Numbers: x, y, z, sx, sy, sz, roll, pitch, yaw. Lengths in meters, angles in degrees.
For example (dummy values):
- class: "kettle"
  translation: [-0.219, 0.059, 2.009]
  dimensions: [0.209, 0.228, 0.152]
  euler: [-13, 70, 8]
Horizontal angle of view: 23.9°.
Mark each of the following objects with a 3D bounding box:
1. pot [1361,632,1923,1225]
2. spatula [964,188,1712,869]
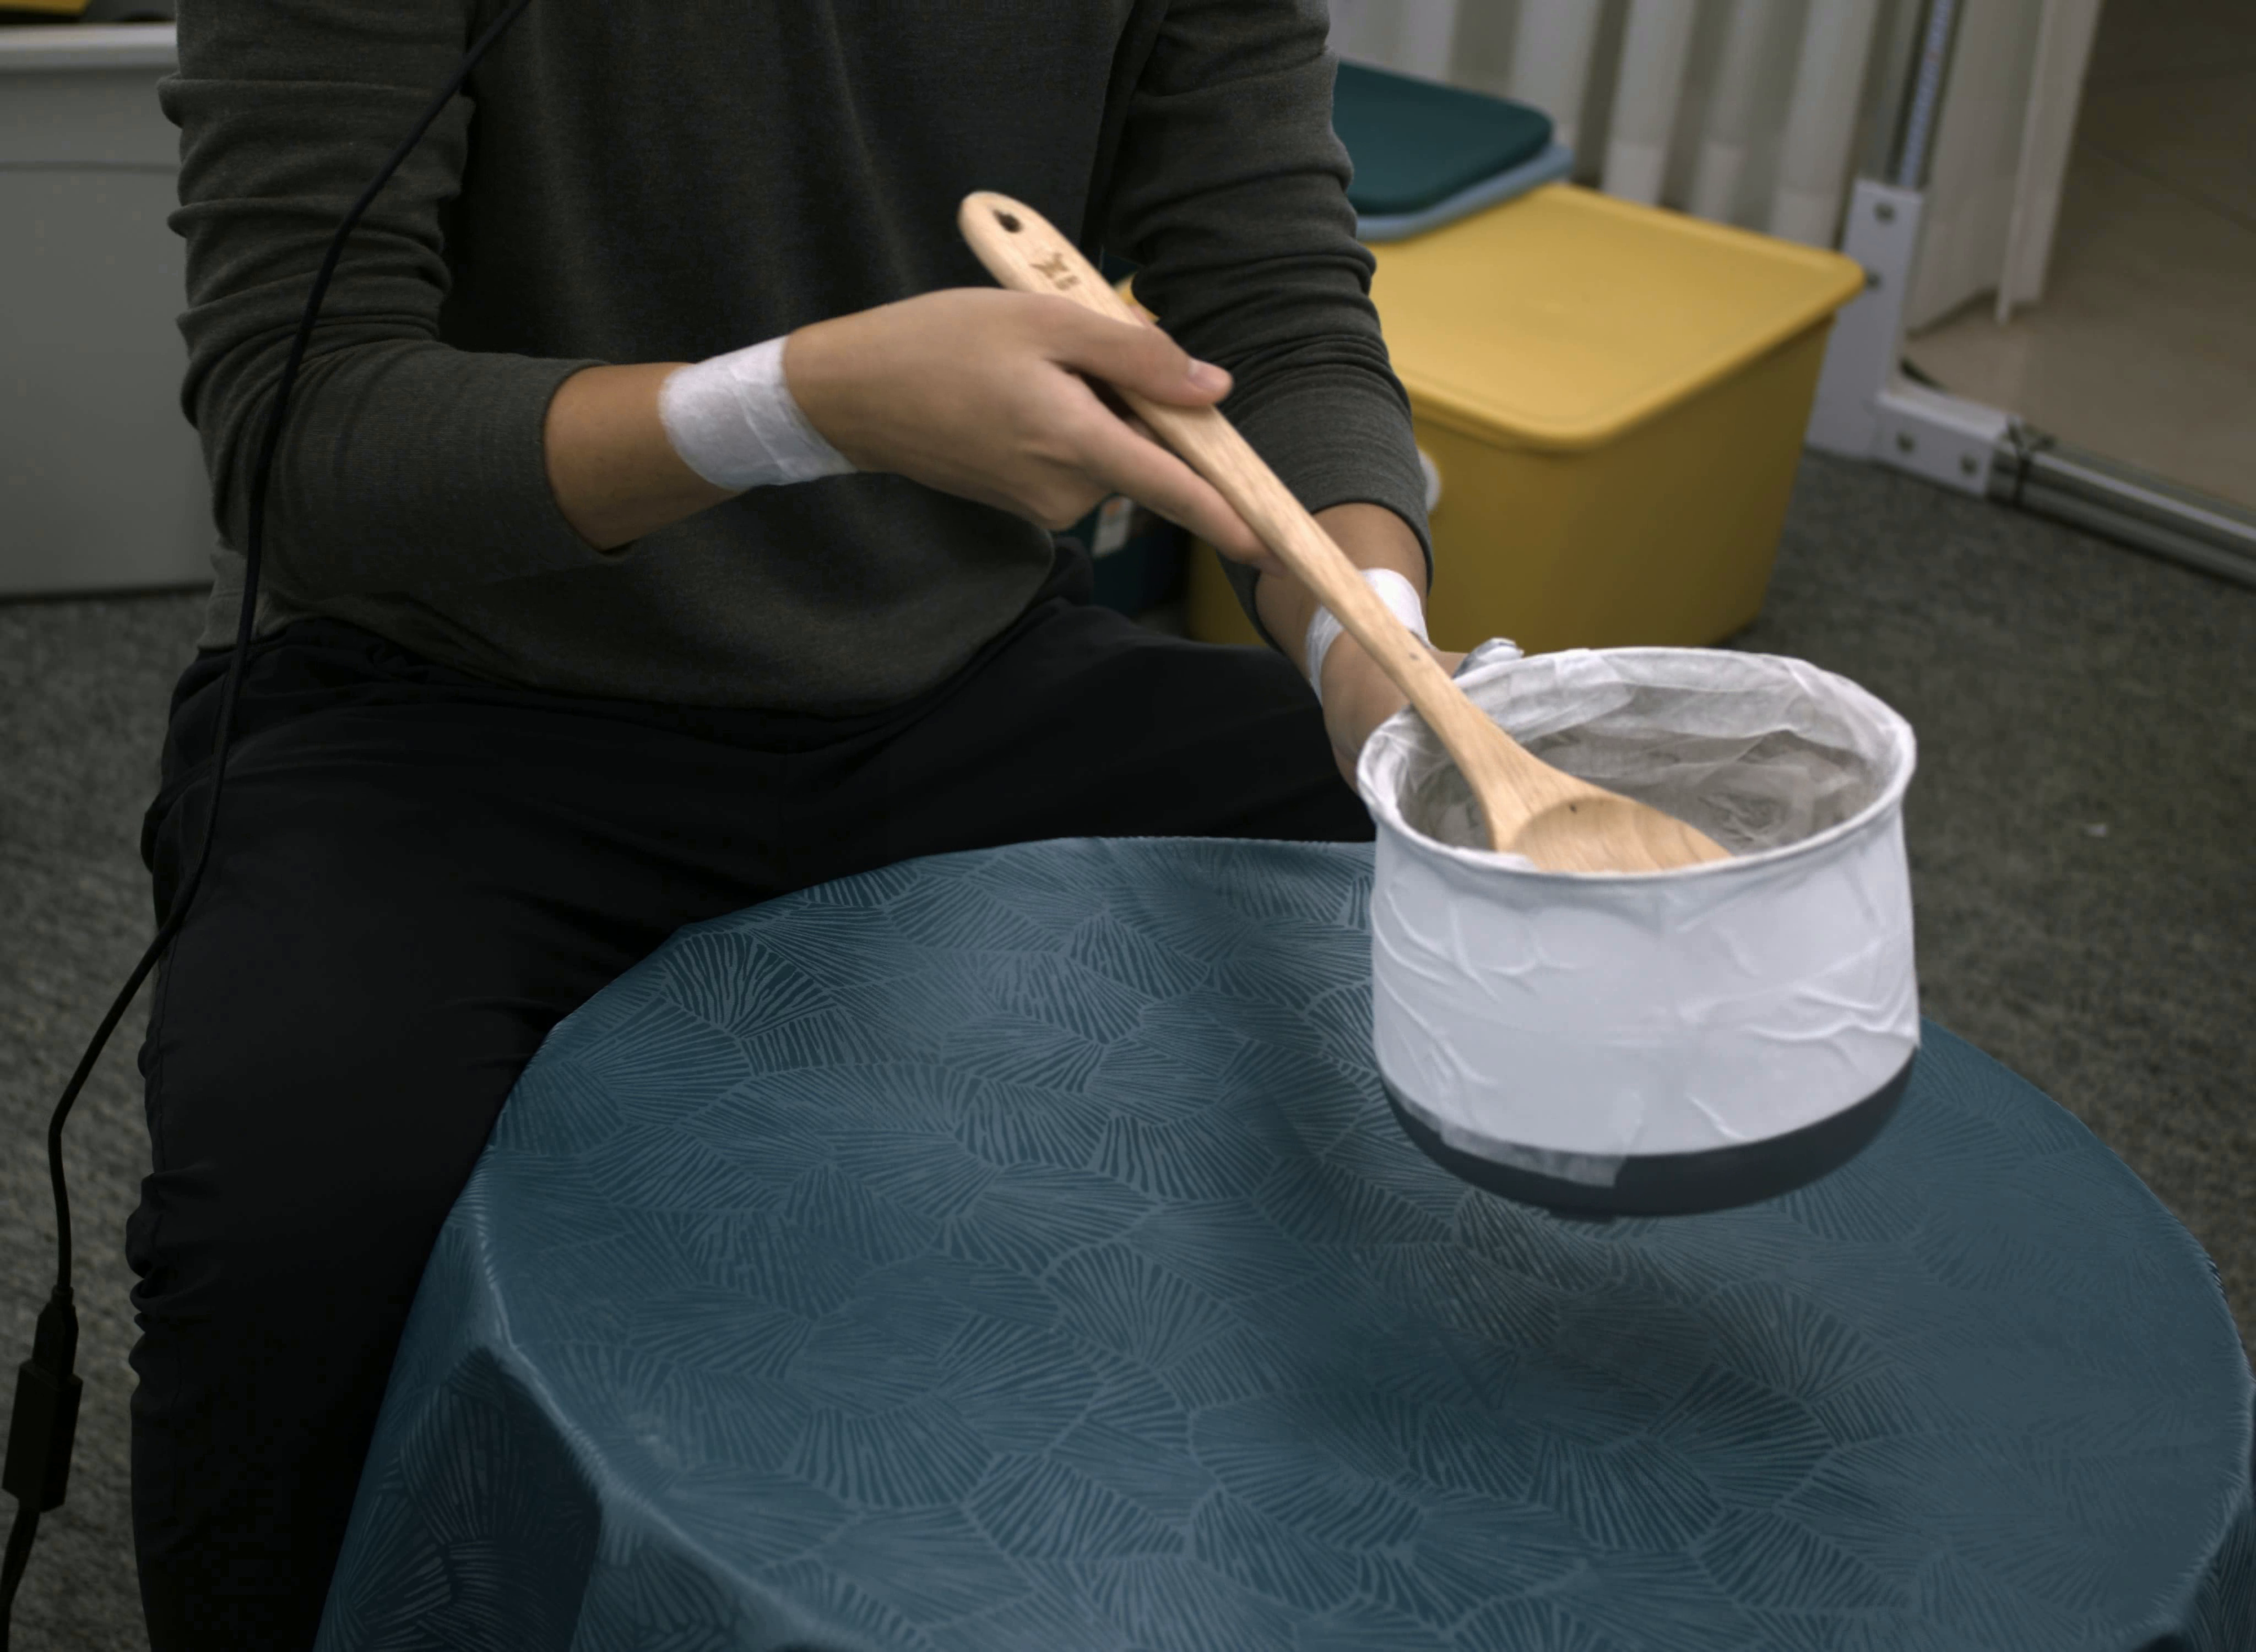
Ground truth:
- class: "pot"
  translation: [0.153, 0.025, 1.726]
  dimensions: [0.178, 0.136, 0.235]
  euler: [-14, 26, -20]
- class: "spatula"
  translation: [0.068, -0.074, 1.738]
  dimensions: [0.095, 0.018, 0.393]
  euler: [-26, 67, -38]
